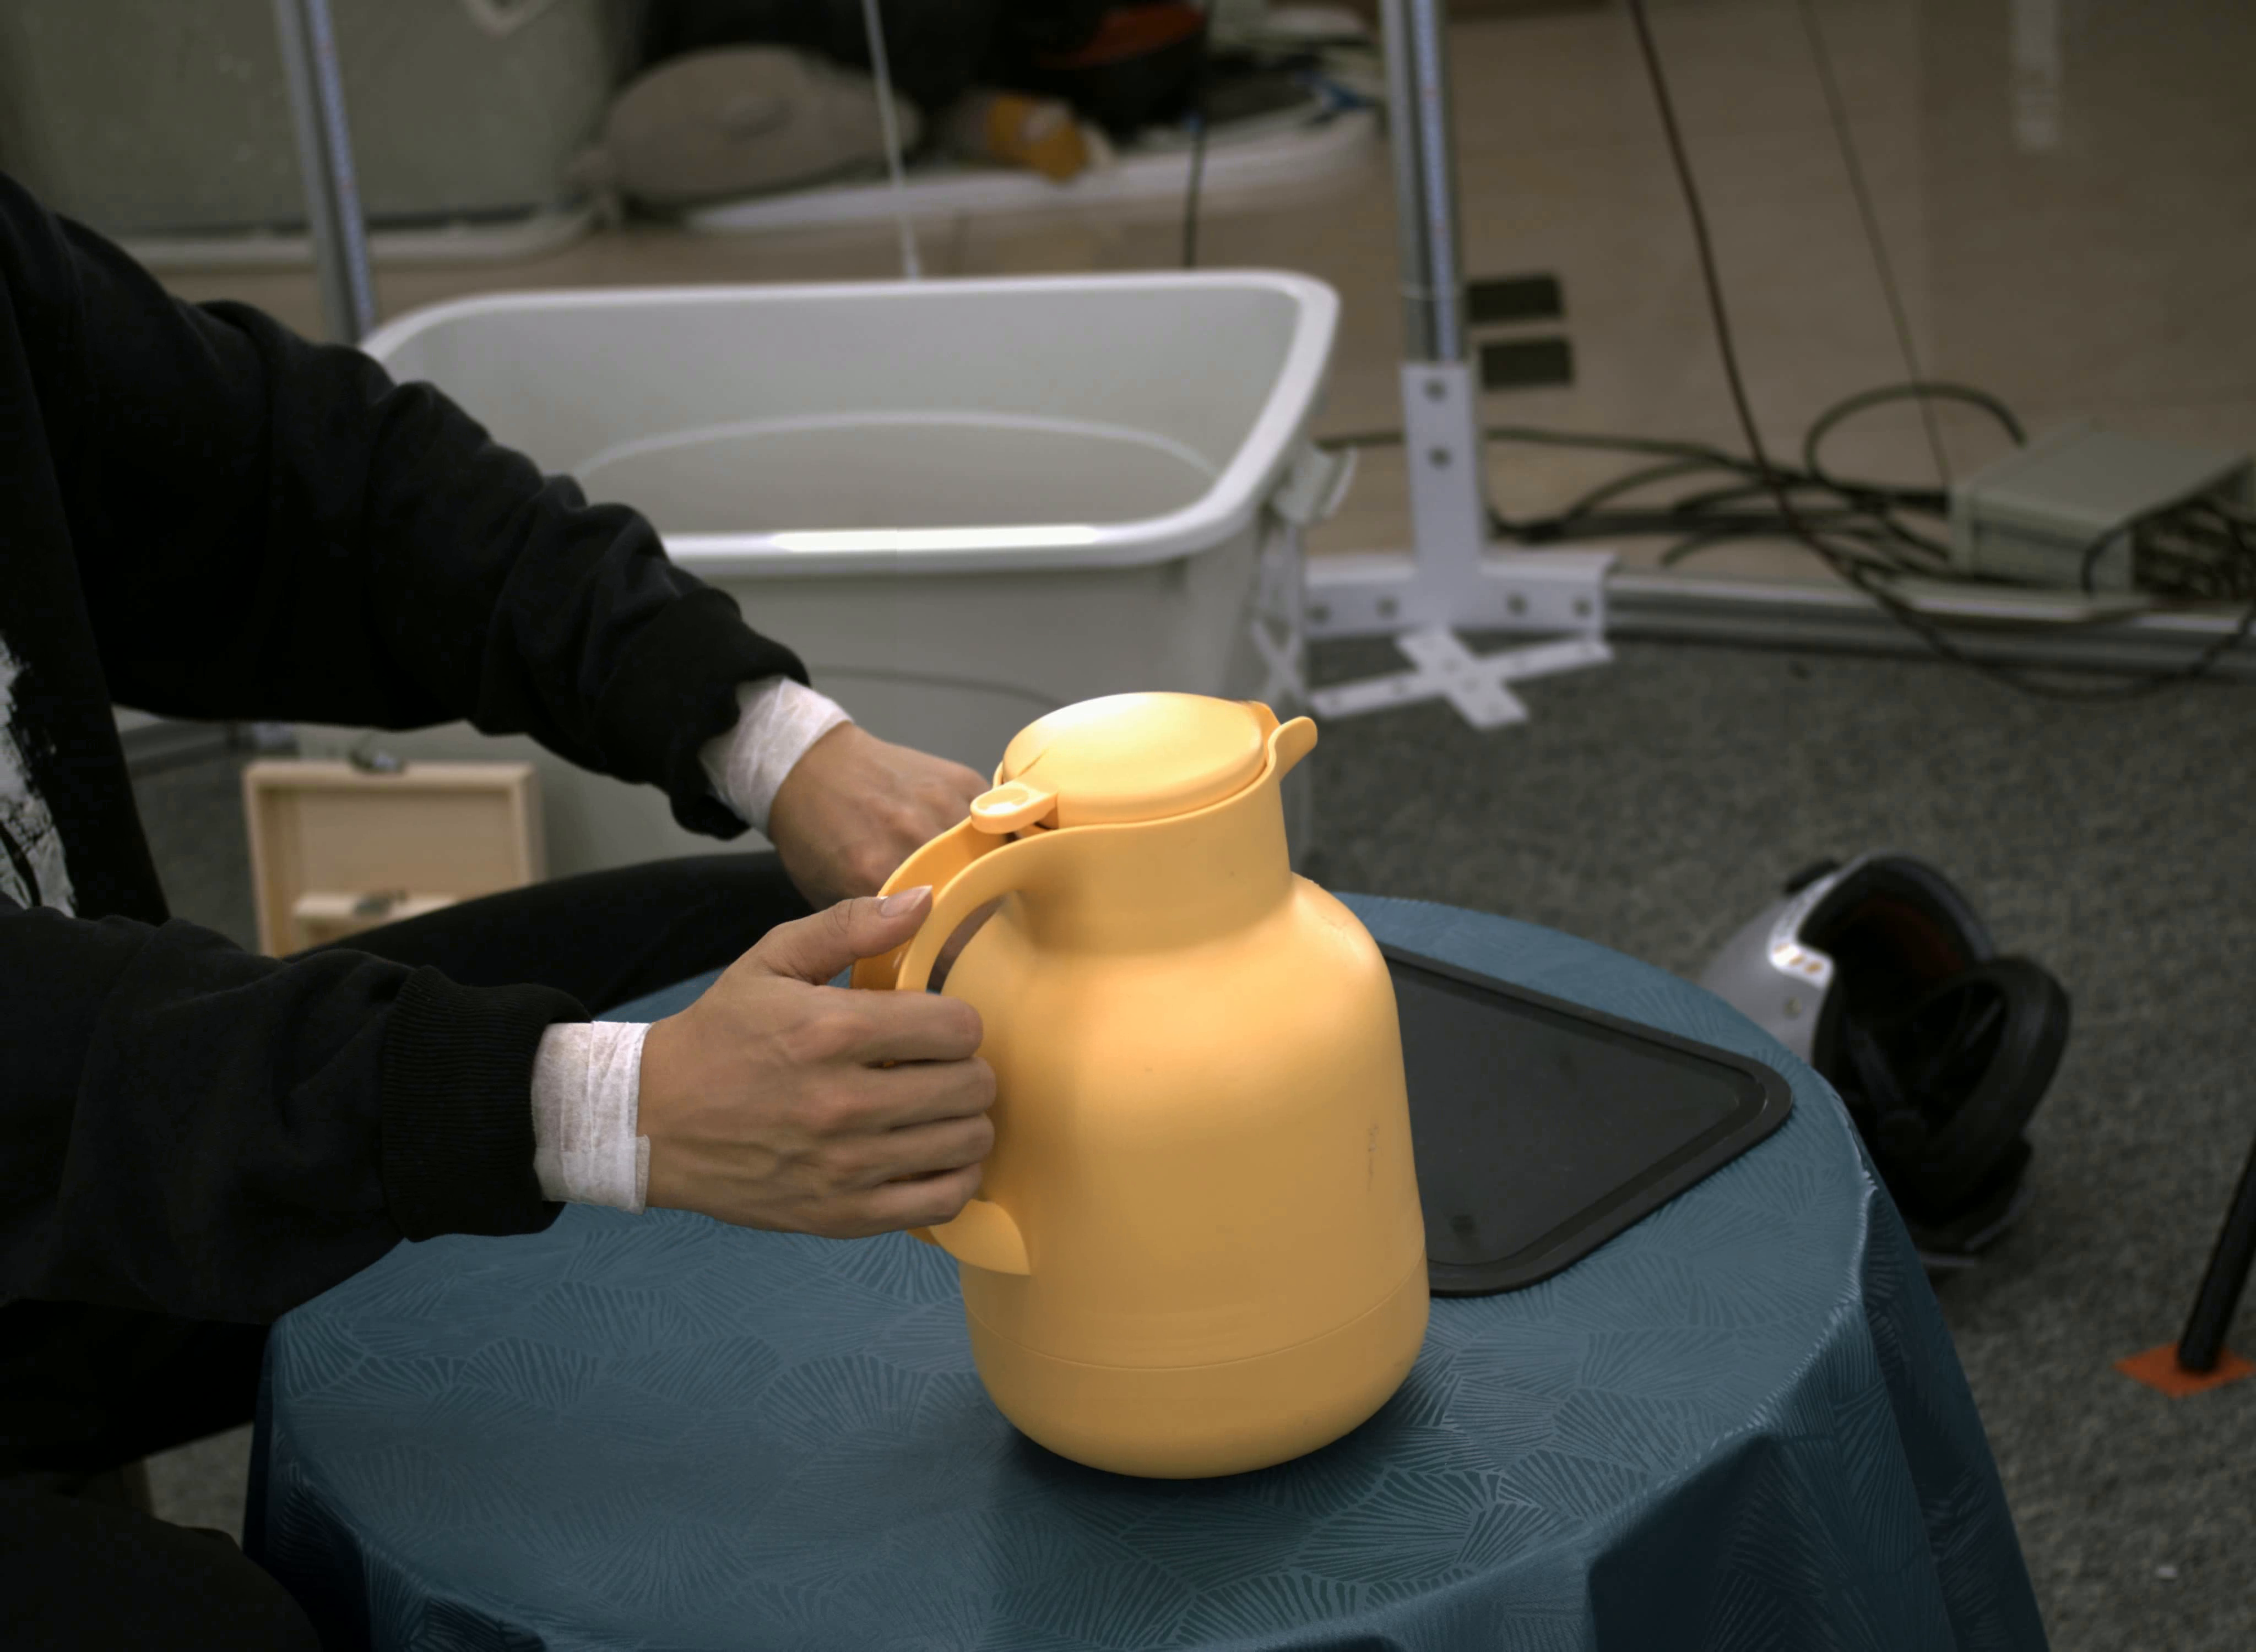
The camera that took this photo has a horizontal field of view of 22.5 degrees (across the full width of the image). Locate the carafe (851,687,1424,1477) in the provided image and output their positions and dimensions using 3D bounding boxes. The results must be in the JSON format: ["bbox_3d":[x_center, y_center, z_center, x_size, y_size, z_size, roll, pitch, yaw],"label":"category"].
[{"bbox_3d":[-0.002,0.089,1.941,0.201,0.264,0.162,-21,26,-32],"label":"carafe"}]

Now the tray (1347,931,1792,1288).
[{"bbox_3d":[0.083,0.101,2.203,0.323,0.010,0.209,18,34,42],"label":"tray"}]
